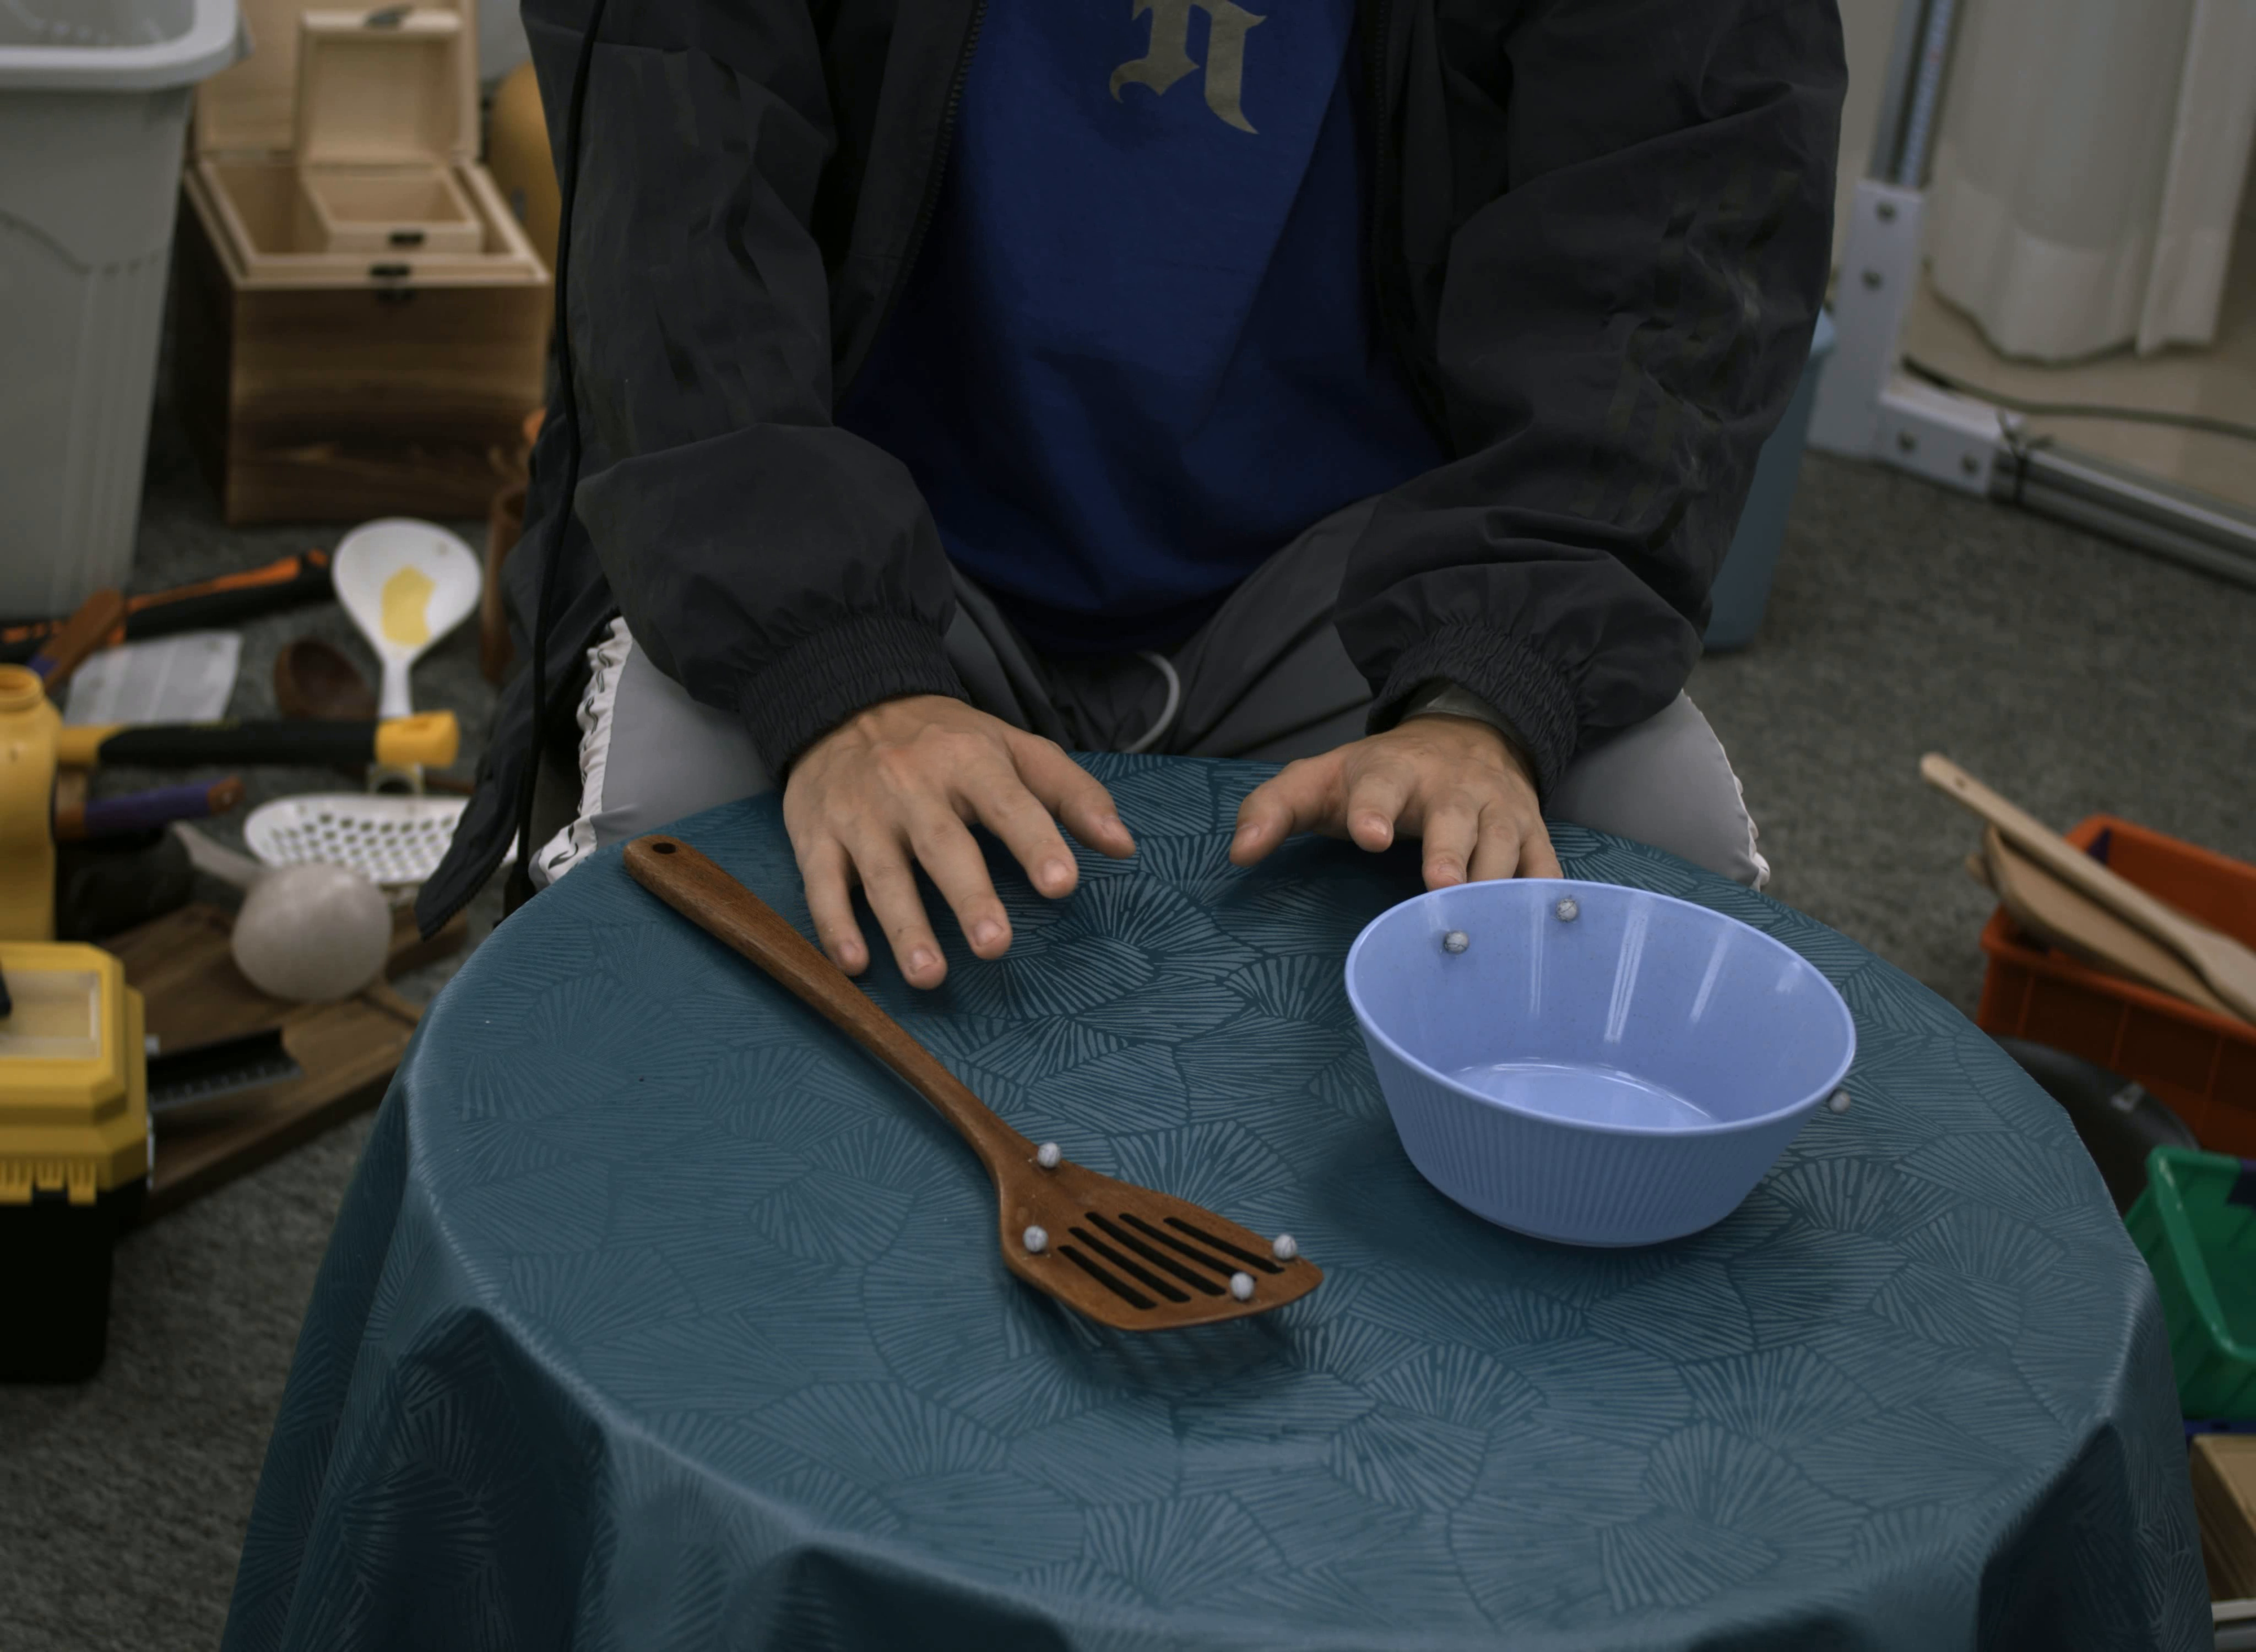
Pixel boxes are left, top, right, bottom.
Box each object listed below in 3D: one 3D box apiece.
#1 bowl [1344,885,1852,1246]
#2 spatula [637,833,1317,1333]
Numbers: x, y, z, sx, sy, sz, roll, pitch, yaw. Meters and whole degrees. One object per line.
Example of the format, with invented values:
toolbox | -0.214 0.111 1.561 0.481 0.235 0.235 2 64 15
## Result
bowl | 0.157 0.088 1.831 0.175 0.070 0.177 5 26 -3
spatula | -0.072 0.086 1.840 0.085 0.024 0.390 -11 30 -32
